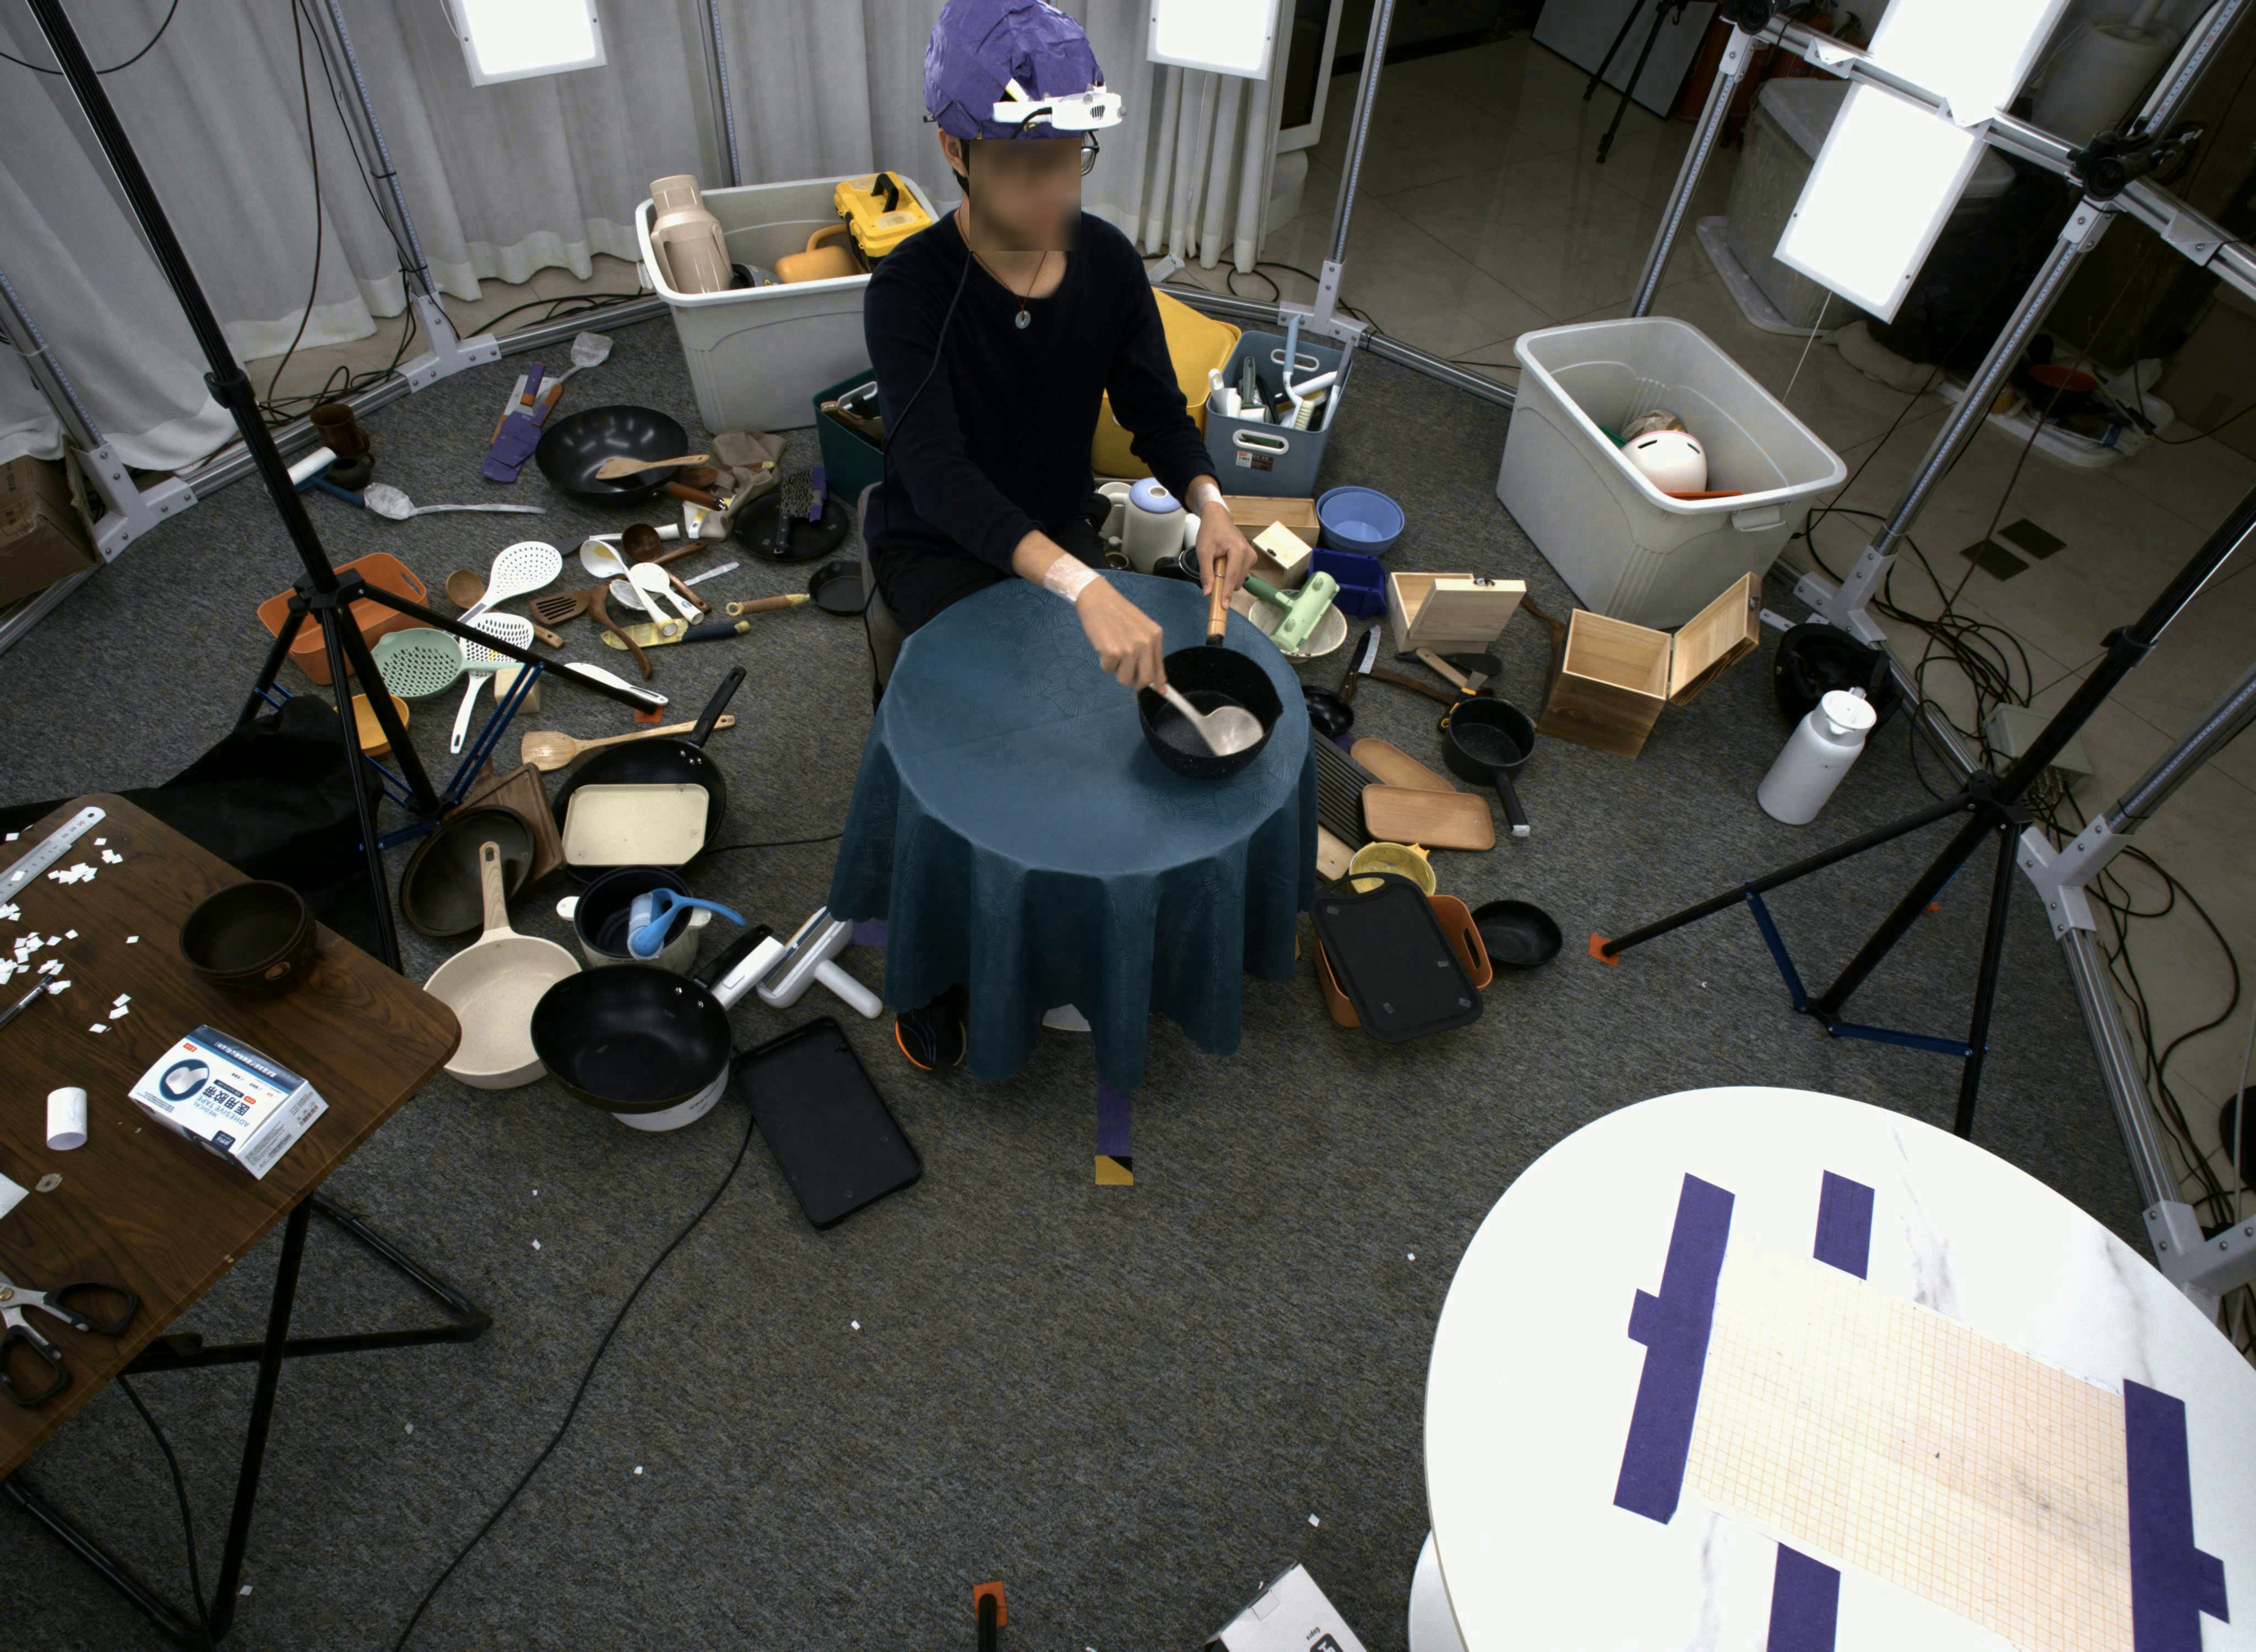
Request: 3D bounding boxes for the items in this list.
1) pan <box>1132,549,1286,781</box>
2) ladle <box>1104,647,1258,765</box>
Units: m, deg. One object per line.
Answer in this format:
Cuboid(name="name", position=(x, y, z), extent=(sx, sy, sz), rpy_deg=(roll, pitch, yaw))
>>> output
Cuboid(name="pan", position=(0.114, -0.221, 1.770), extent=(0.207, 0.106, 0.350), rpy_deg=(5, 59, 3))
Cuboid(name="ladle", position=(0.074, -0.163, 1.634), extent=(0.069, 0.269, 0.091), rpy_deg=(-13, 57, 31))
